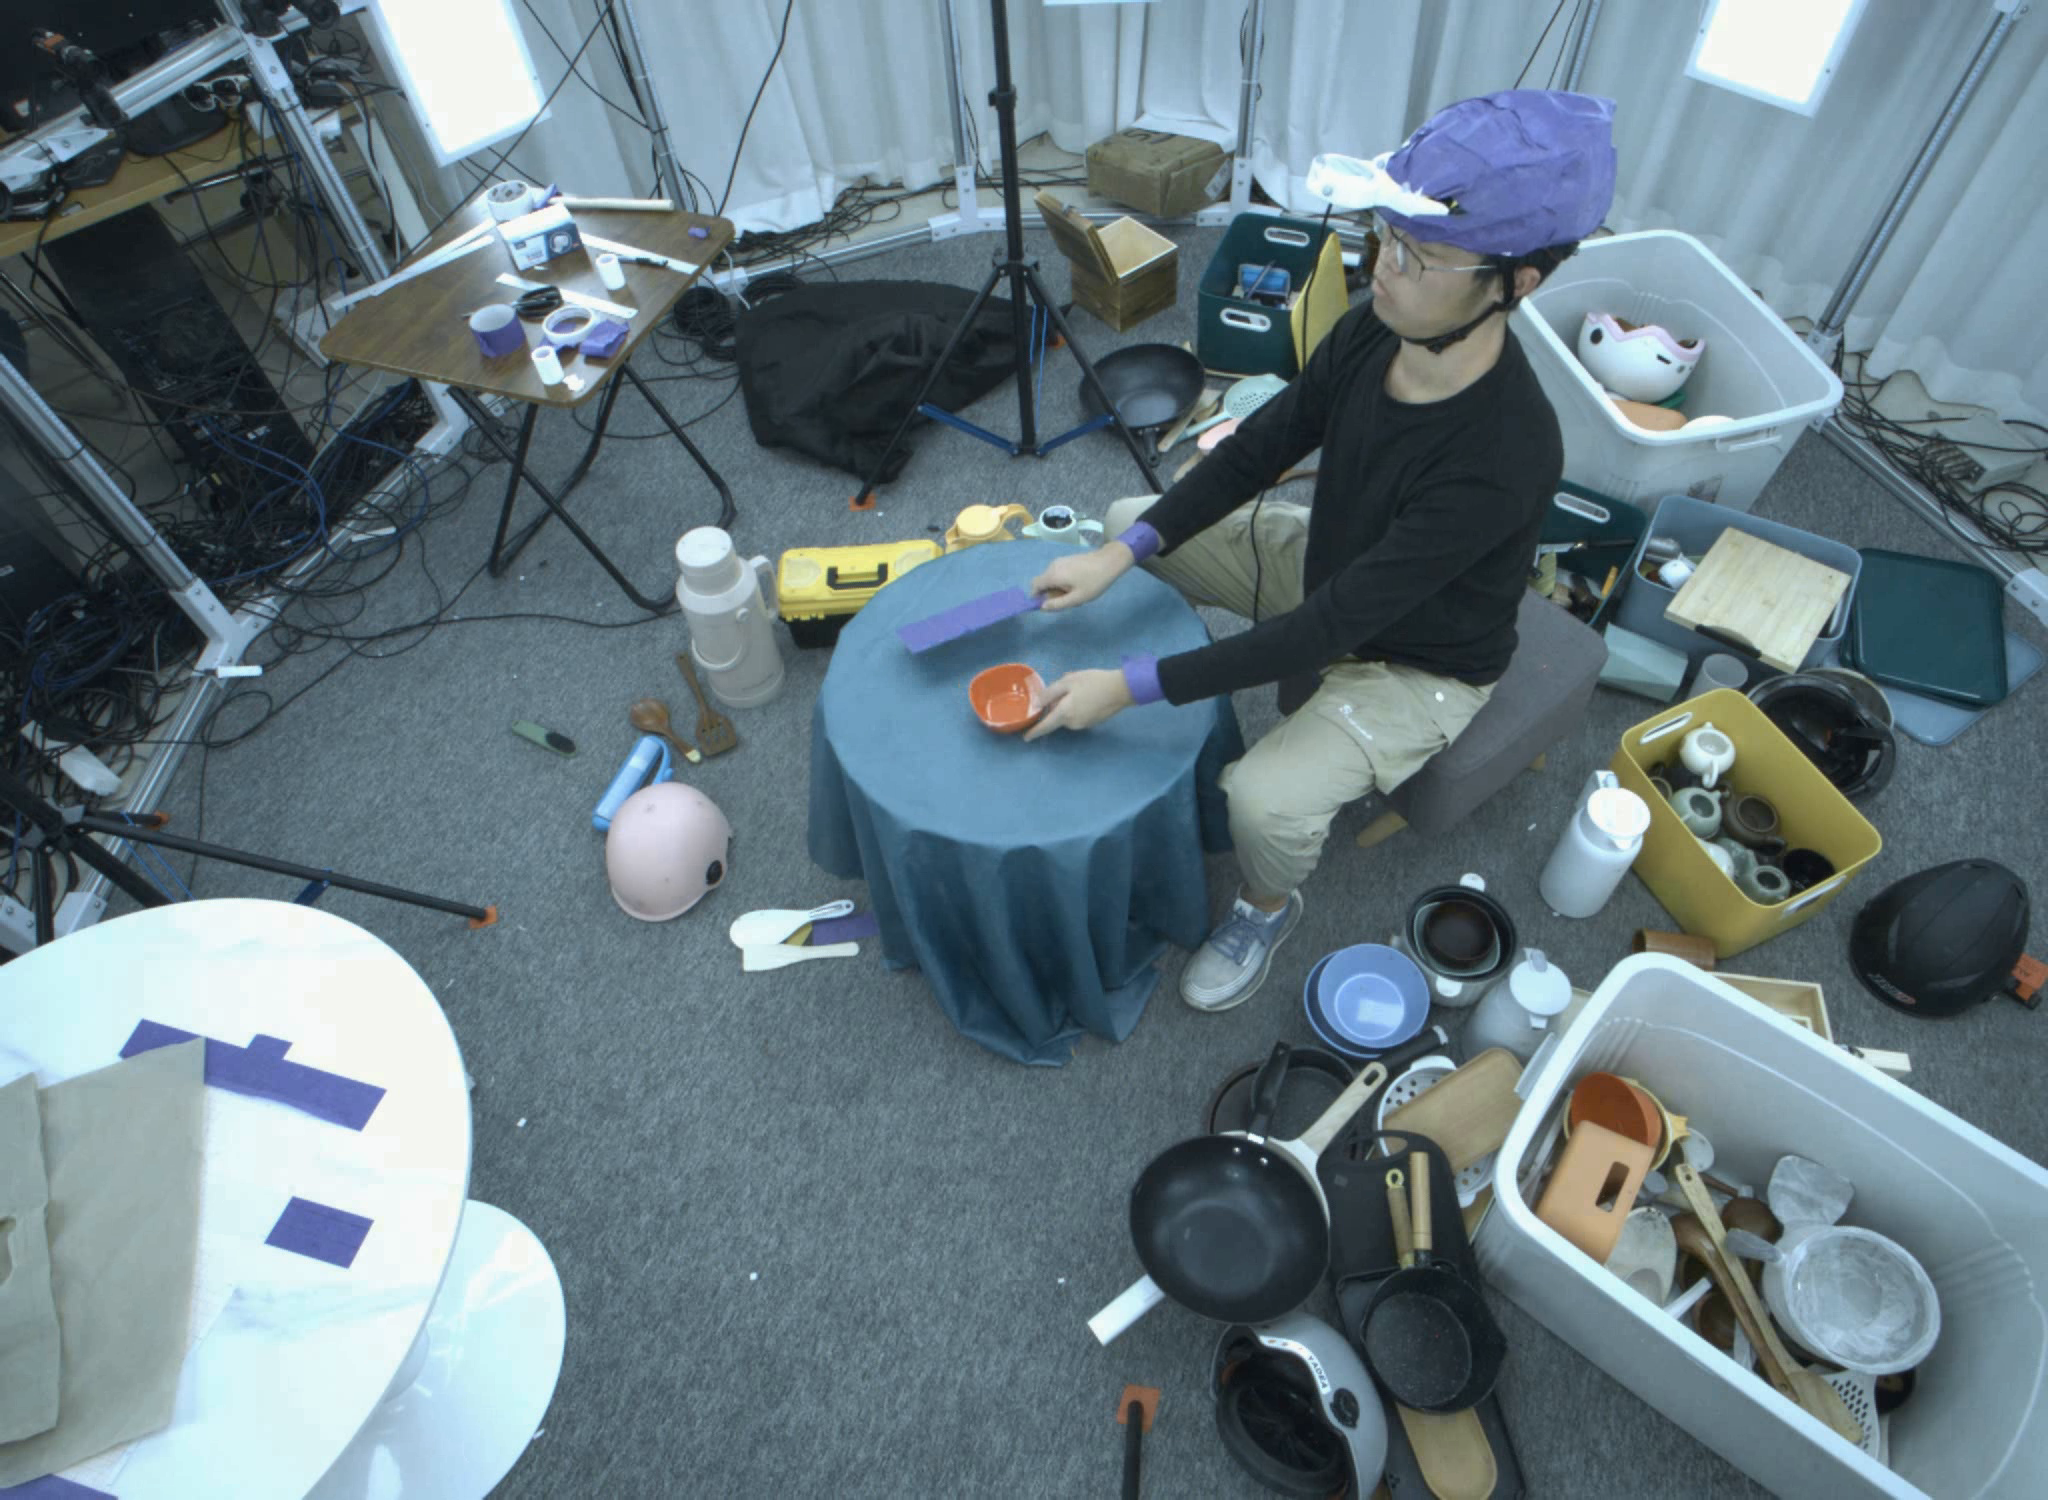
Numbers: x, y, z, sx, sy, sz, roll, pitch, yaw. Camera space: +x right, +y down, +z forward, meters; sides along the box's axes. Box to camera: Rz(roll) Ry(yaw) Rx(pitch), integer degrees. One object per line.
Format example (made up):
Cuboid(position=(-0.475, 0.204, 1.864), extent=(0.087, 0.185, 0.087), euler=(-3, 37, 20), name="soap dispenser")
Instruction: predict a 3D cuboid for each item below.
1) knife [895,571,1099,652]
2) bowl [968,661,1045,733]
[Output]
Cuboid(position=(-0.044, -0.223, 1.874), extent=(0.318, 0.032, 0.101), euler=(-20, 36, -15), name="knife")
Cuboid(position=(-0.023, -0.070, 1.798), extent=(0.118, 0.052, 0.117), euler=(-3, 54, 5), name="bowl")
